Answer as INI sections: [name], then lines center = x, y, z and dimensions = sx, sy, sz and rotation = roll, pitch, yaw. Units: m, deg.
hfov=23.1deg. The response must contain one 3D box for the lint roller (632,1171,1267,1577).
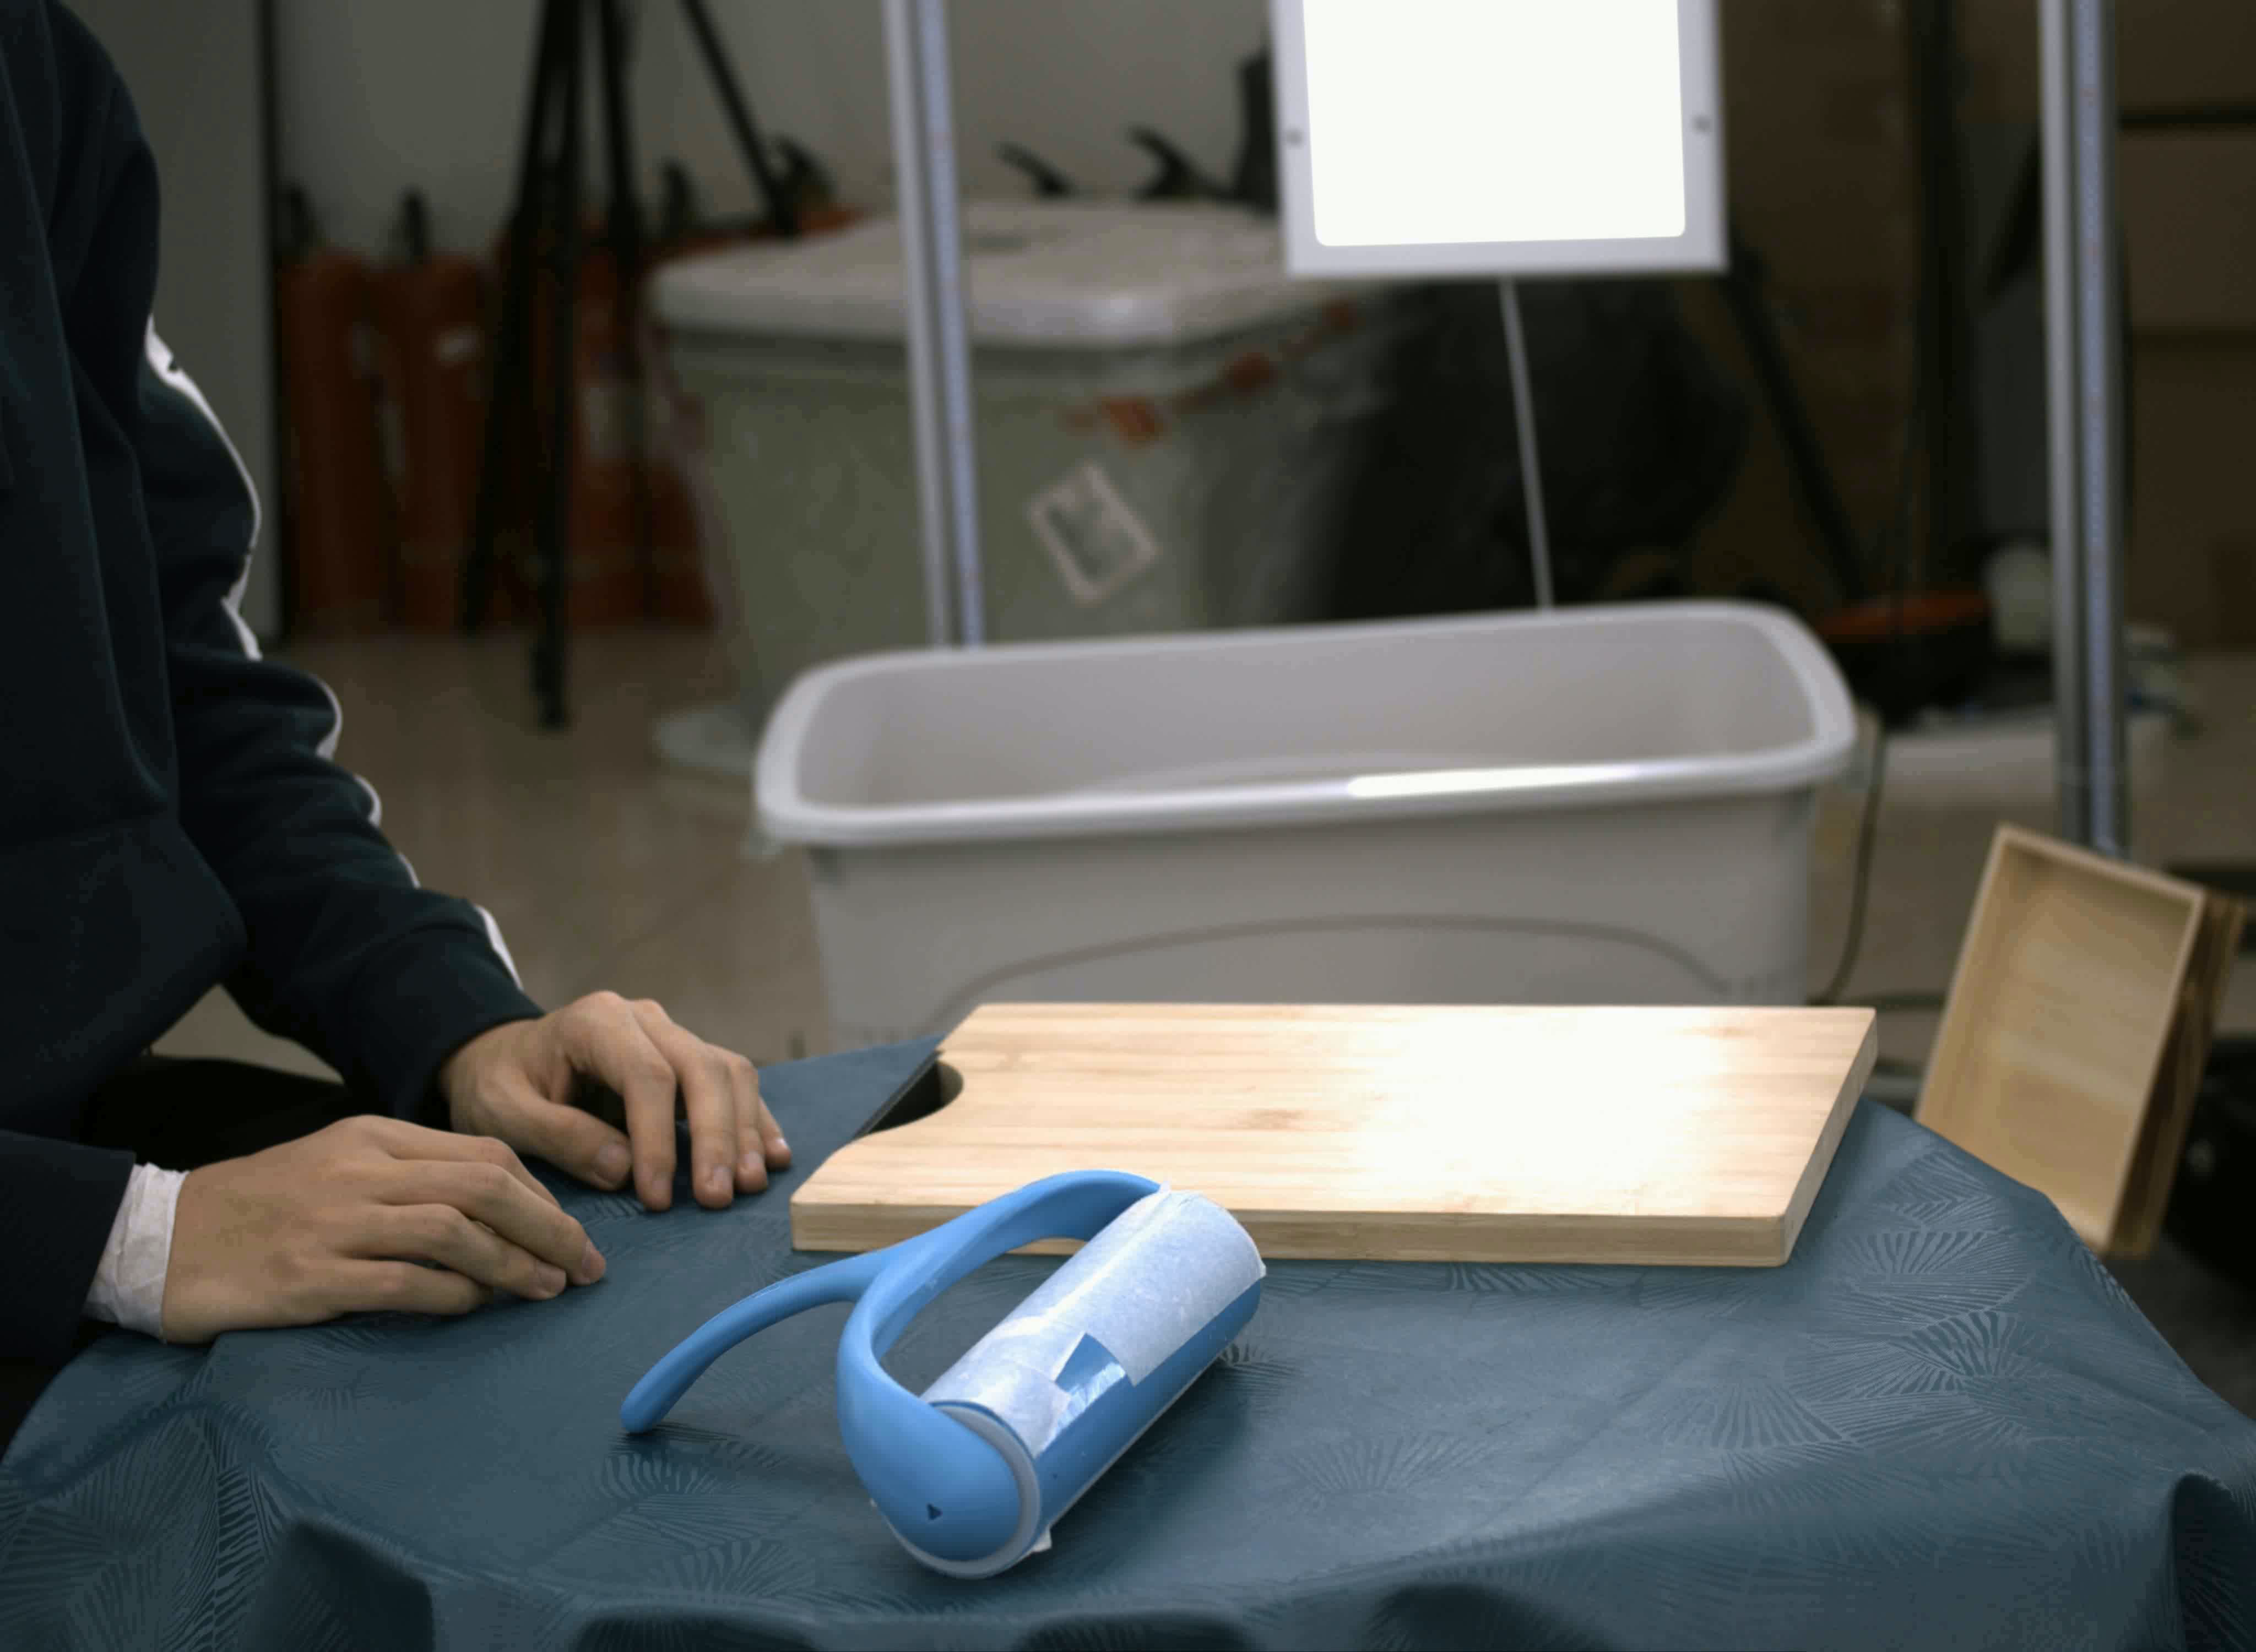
[lint roller]
center = -0.069, 0.161, 1.659
dimensions = 0.182, 0.068, 0.225
rotation = 0, 16, 19

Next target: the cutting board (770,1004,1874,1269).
[cutting board]
center = 0.075, 0.106, 1.920
dimensions = 0.352, 0.023, 0.247
rotation = -1, 14, 16
